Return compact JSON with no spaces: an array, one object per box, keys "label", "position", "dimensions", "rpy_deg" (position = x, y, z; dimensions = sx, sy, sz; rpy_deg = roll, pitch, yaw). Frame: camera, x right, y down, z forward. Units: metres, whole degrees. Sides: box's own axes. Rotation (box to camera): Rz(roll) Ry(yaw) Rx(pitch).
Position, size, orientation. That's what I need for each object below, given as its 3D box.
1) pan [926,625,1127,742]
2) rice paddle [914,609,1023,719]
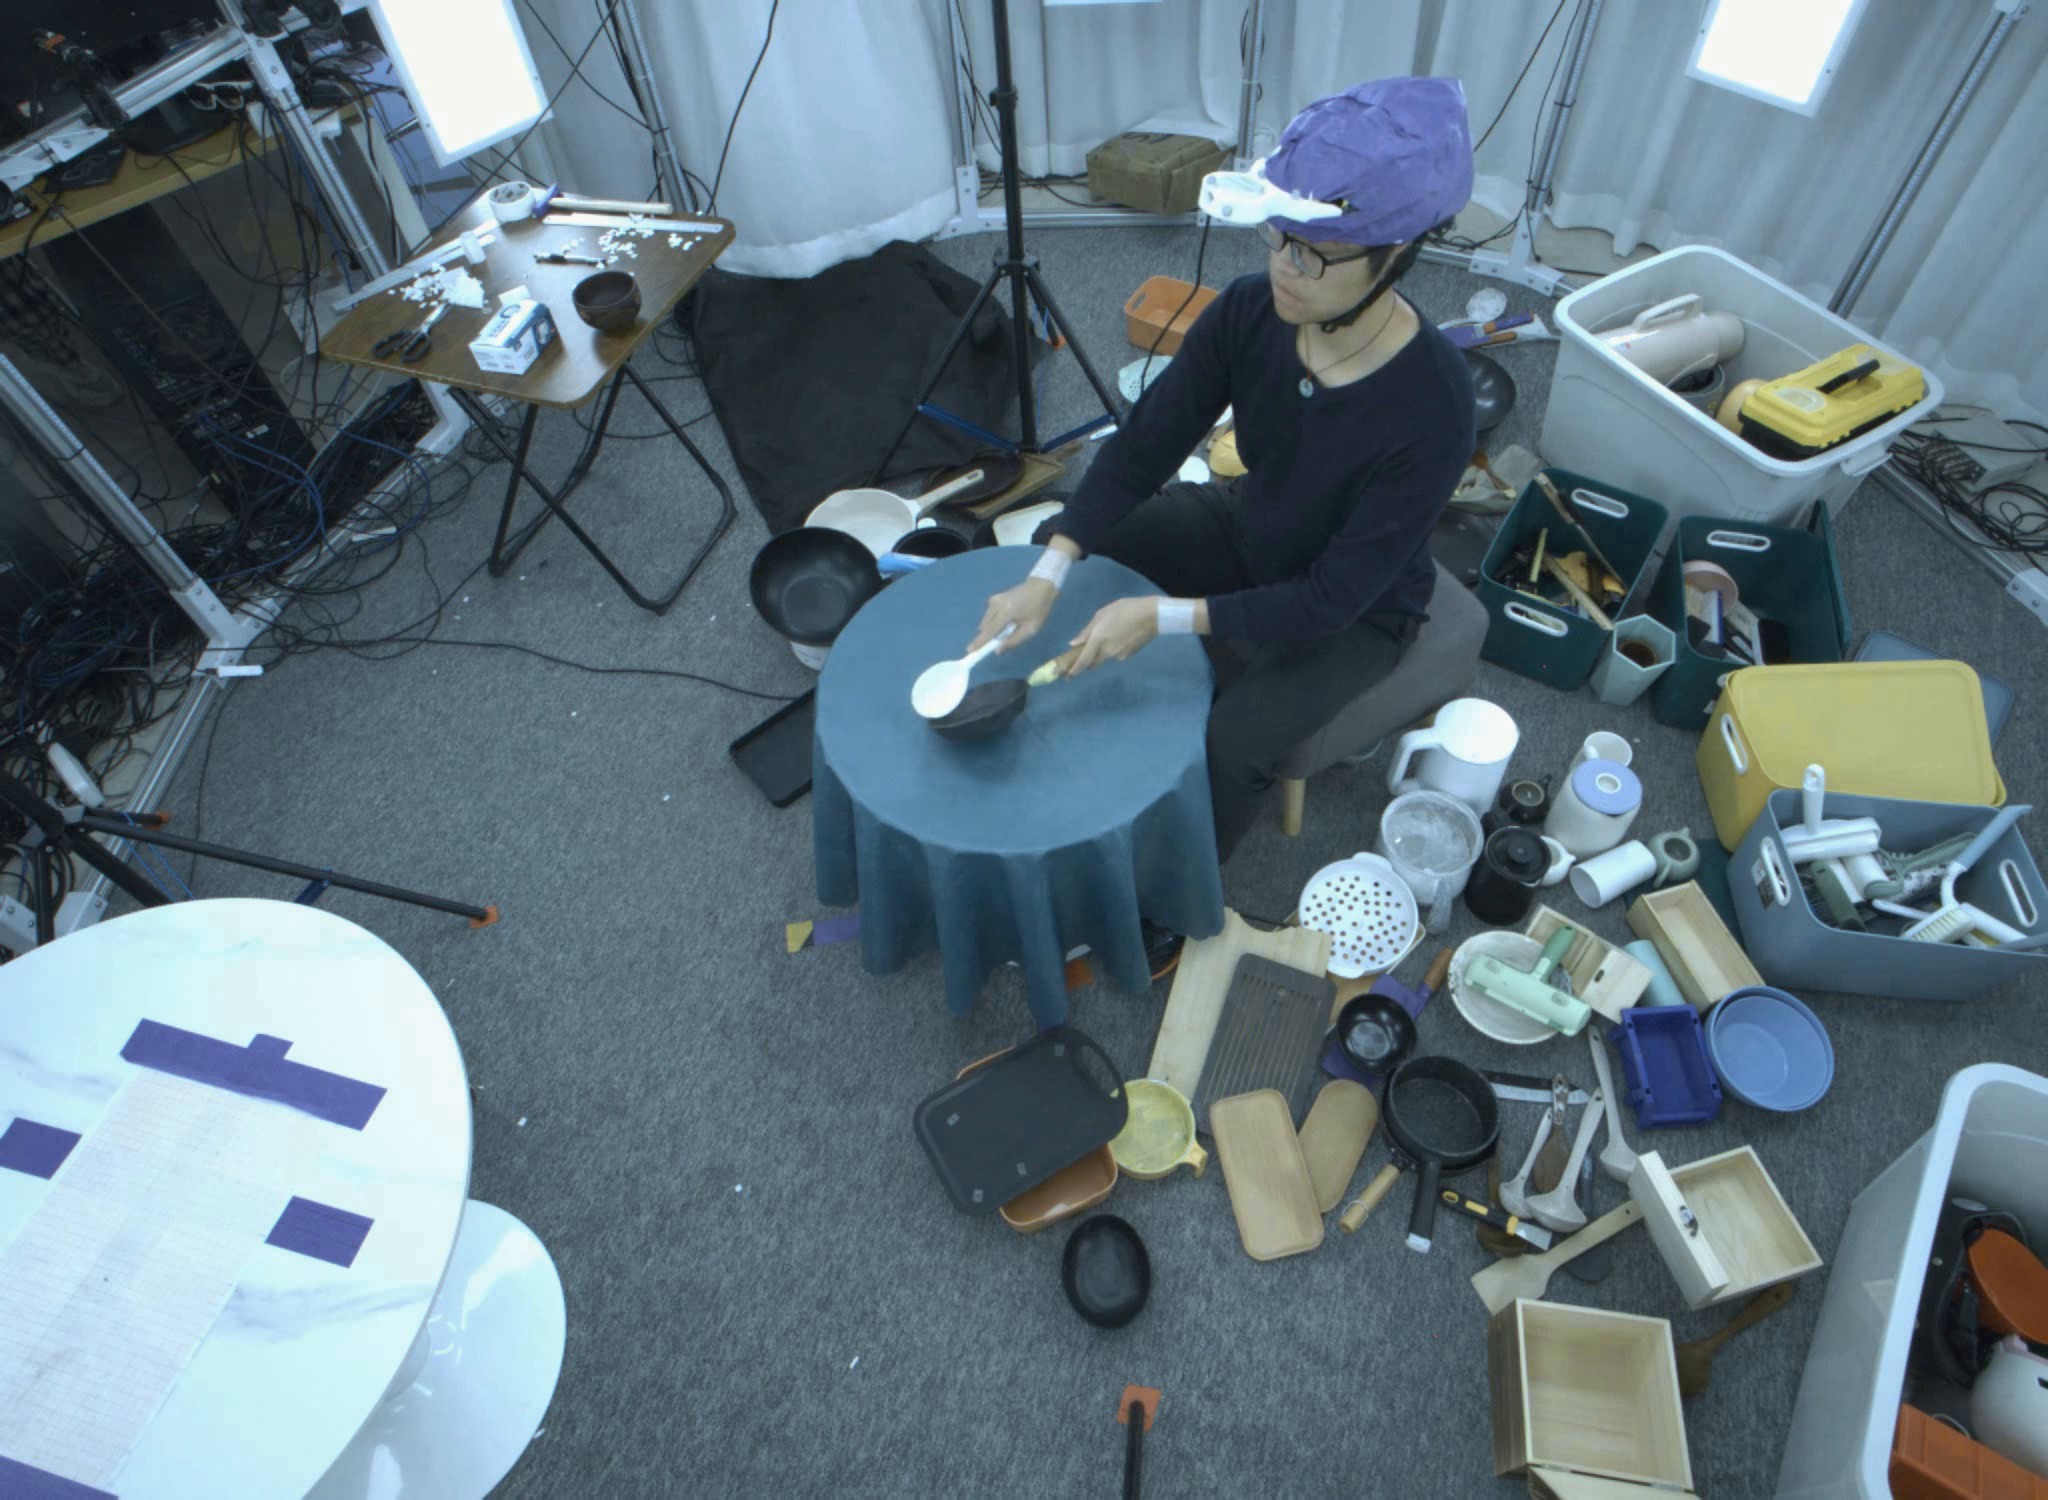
[{"label":"pan","position":[0.011,-0.096,1.777],"dimensions":[0.325,0.050,0.166],"rpy_deg":[-25,20,-8]},{"label":"rice paddle","position":[-0.081,-0.126,1.793],"dimensions":[0.206,0.029,0.069],"rpy_deg":[-46,108,-14]}]
